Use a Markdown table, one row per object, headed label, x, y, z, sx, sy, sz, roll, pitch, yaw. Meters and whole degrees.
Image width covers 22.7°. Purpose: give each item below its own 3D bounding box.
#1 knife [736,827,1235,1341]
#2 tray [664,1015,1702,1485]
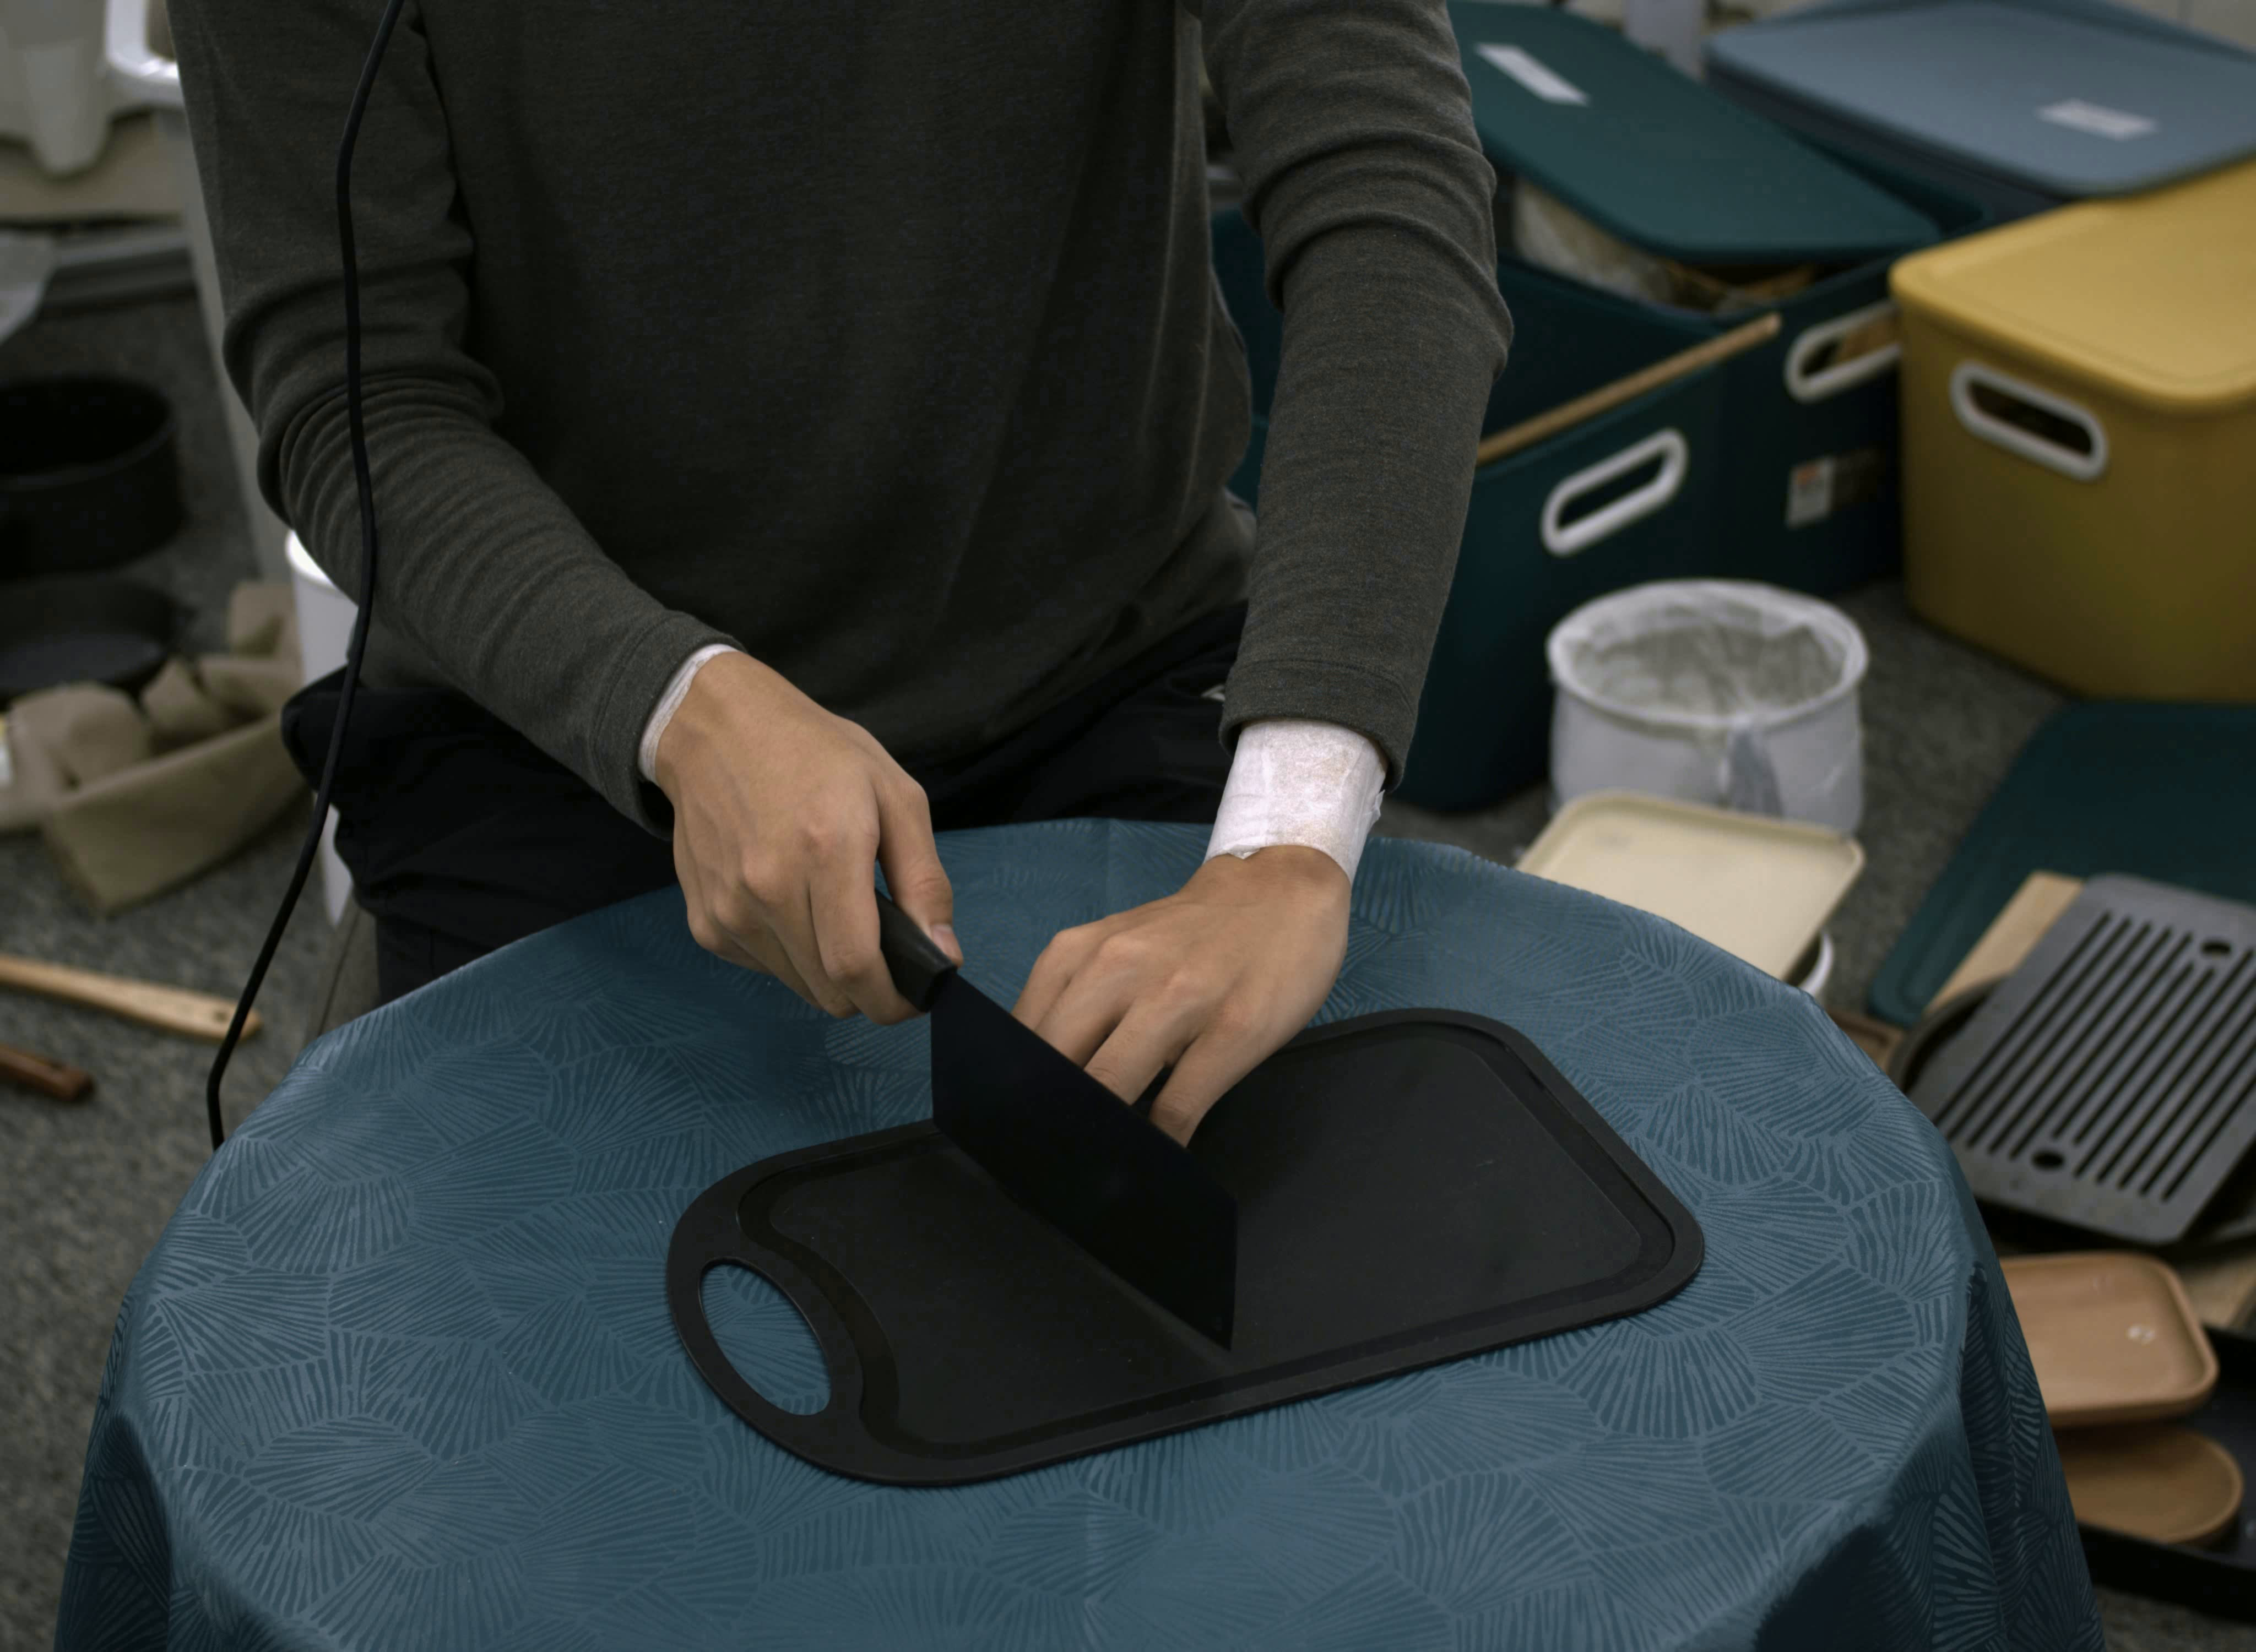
| label | x | y | z | sx | sy | sz | roll | pitch | yaw |
| --- | --- | --- | --- | --- | --- | --- | --- | --- | --- |
| knife | -0.049 | 0.078 | 1.852 | 0.021 | 0.080 | 0.304 | -13 | 33 | -31 |
| tray | 0.011 | 0.134 | 1.829 | 0.326 | 0.009 | 0.213 | -12 | 28 | -17 |
